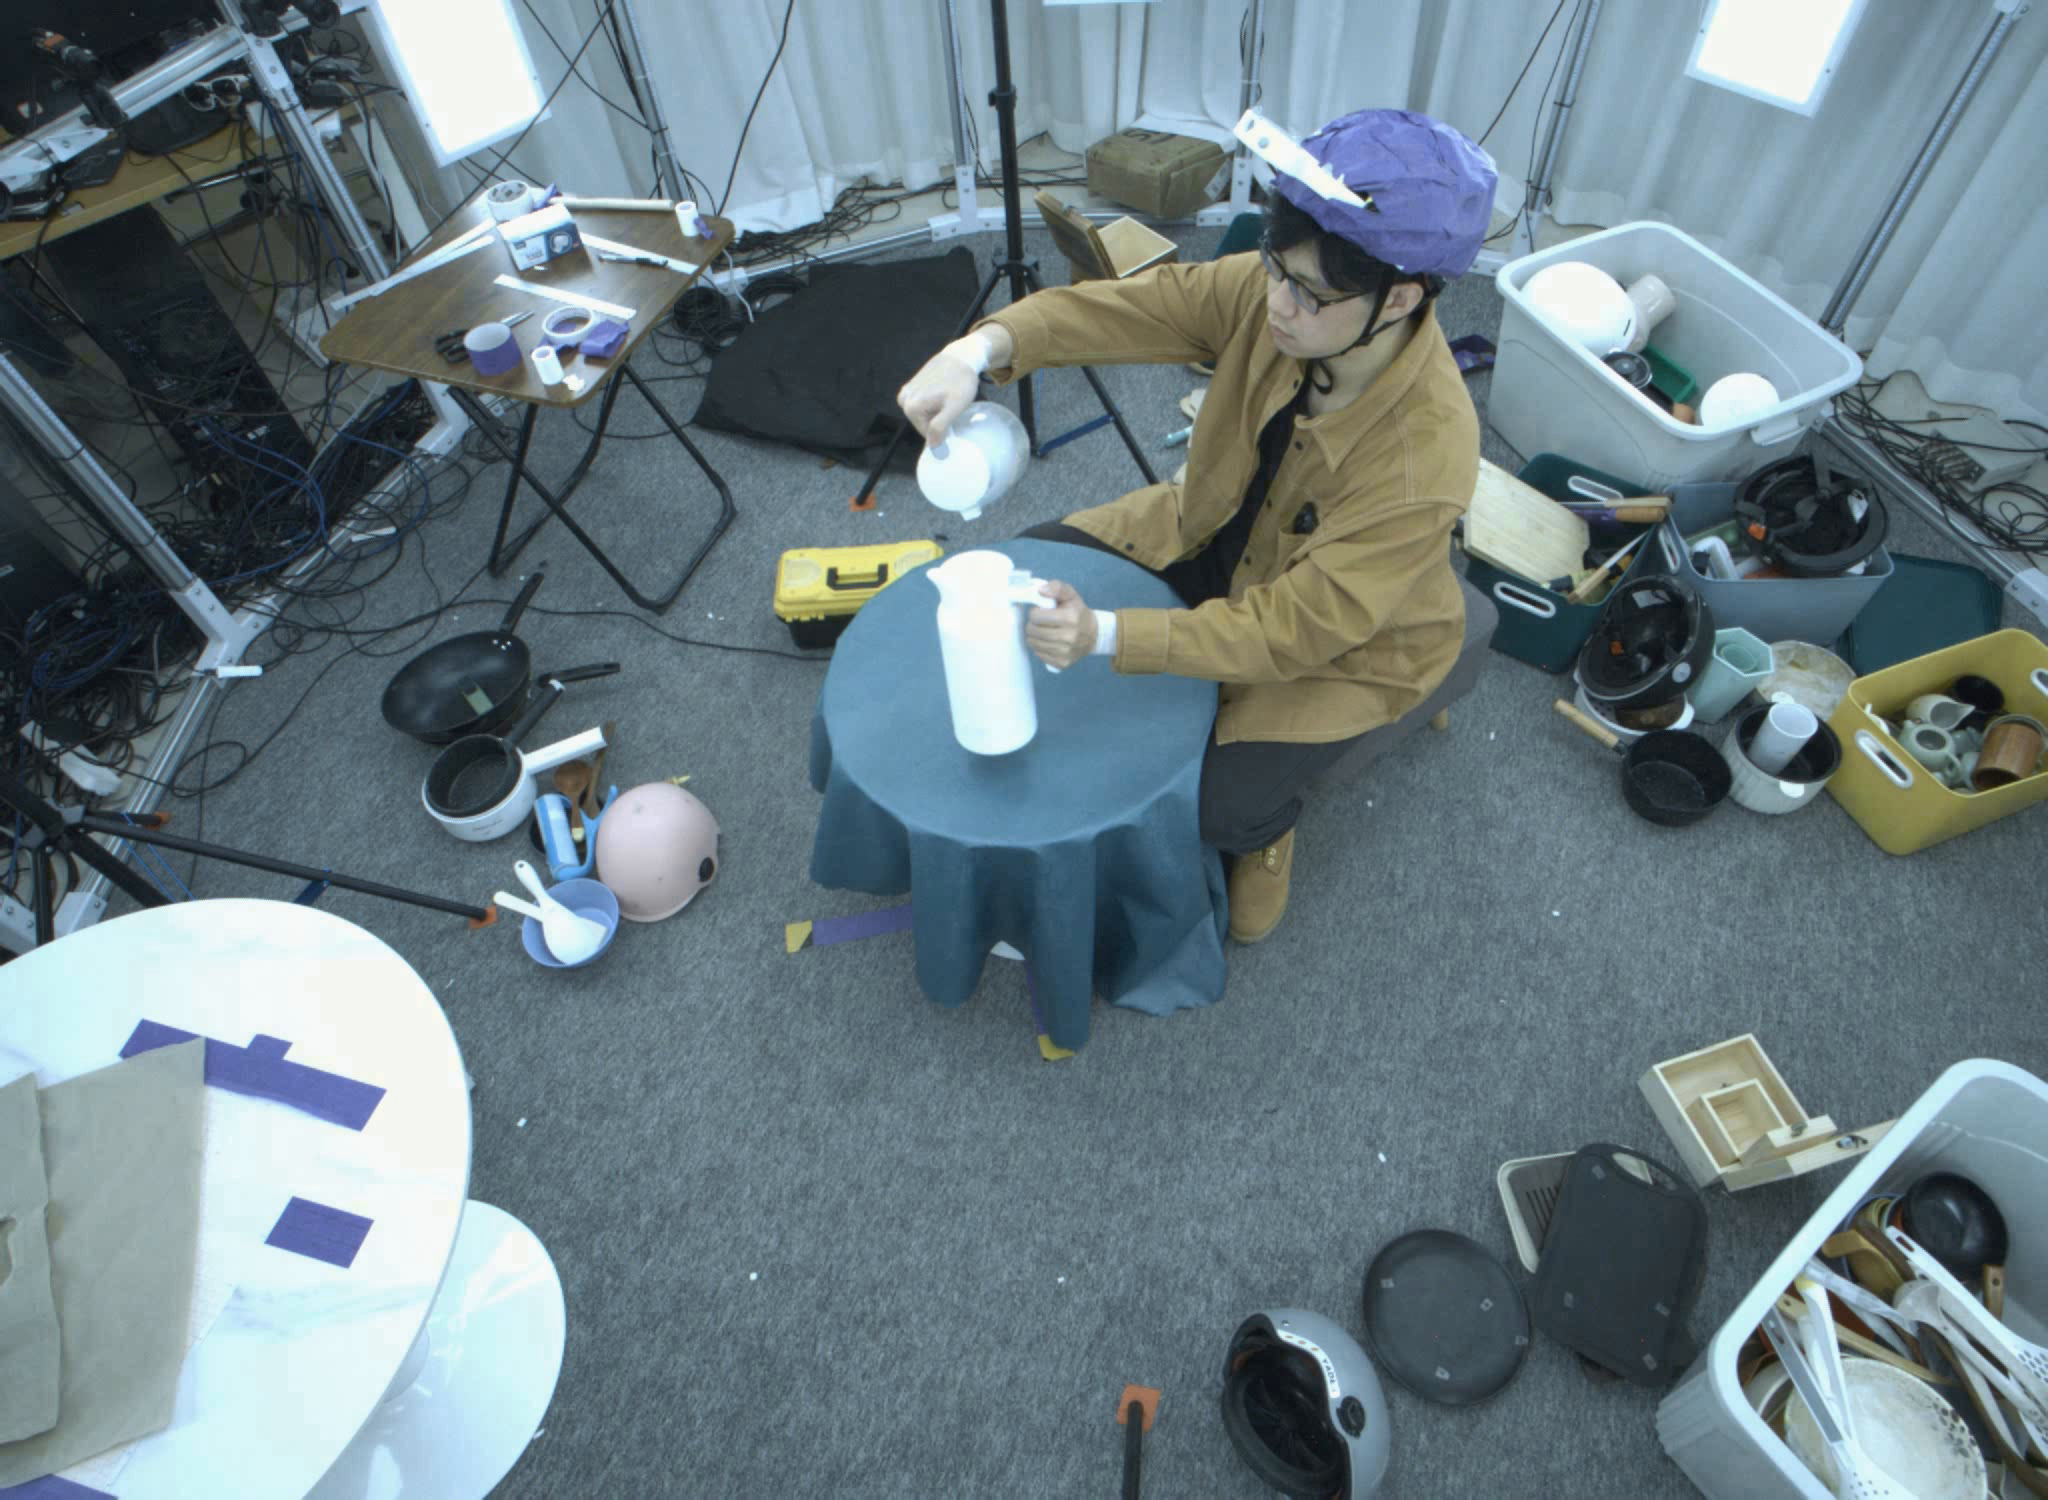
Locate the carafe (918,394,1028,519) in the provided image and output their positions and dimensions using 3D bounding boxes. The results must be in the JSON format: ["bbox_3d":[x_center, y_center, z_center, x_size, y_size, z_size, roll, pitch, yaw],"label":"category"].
[{"bbox_3d":[-0.083,-0.400,1.606,0.131,0.169,0.248,-18,17,13],"label":"carafe"}]

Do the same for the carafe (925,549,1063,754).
[{"bbox_3d":[-0.035,-0.128,1.643,0.171,0.272,0.123,6,39,13],"label":"carafe"}]
